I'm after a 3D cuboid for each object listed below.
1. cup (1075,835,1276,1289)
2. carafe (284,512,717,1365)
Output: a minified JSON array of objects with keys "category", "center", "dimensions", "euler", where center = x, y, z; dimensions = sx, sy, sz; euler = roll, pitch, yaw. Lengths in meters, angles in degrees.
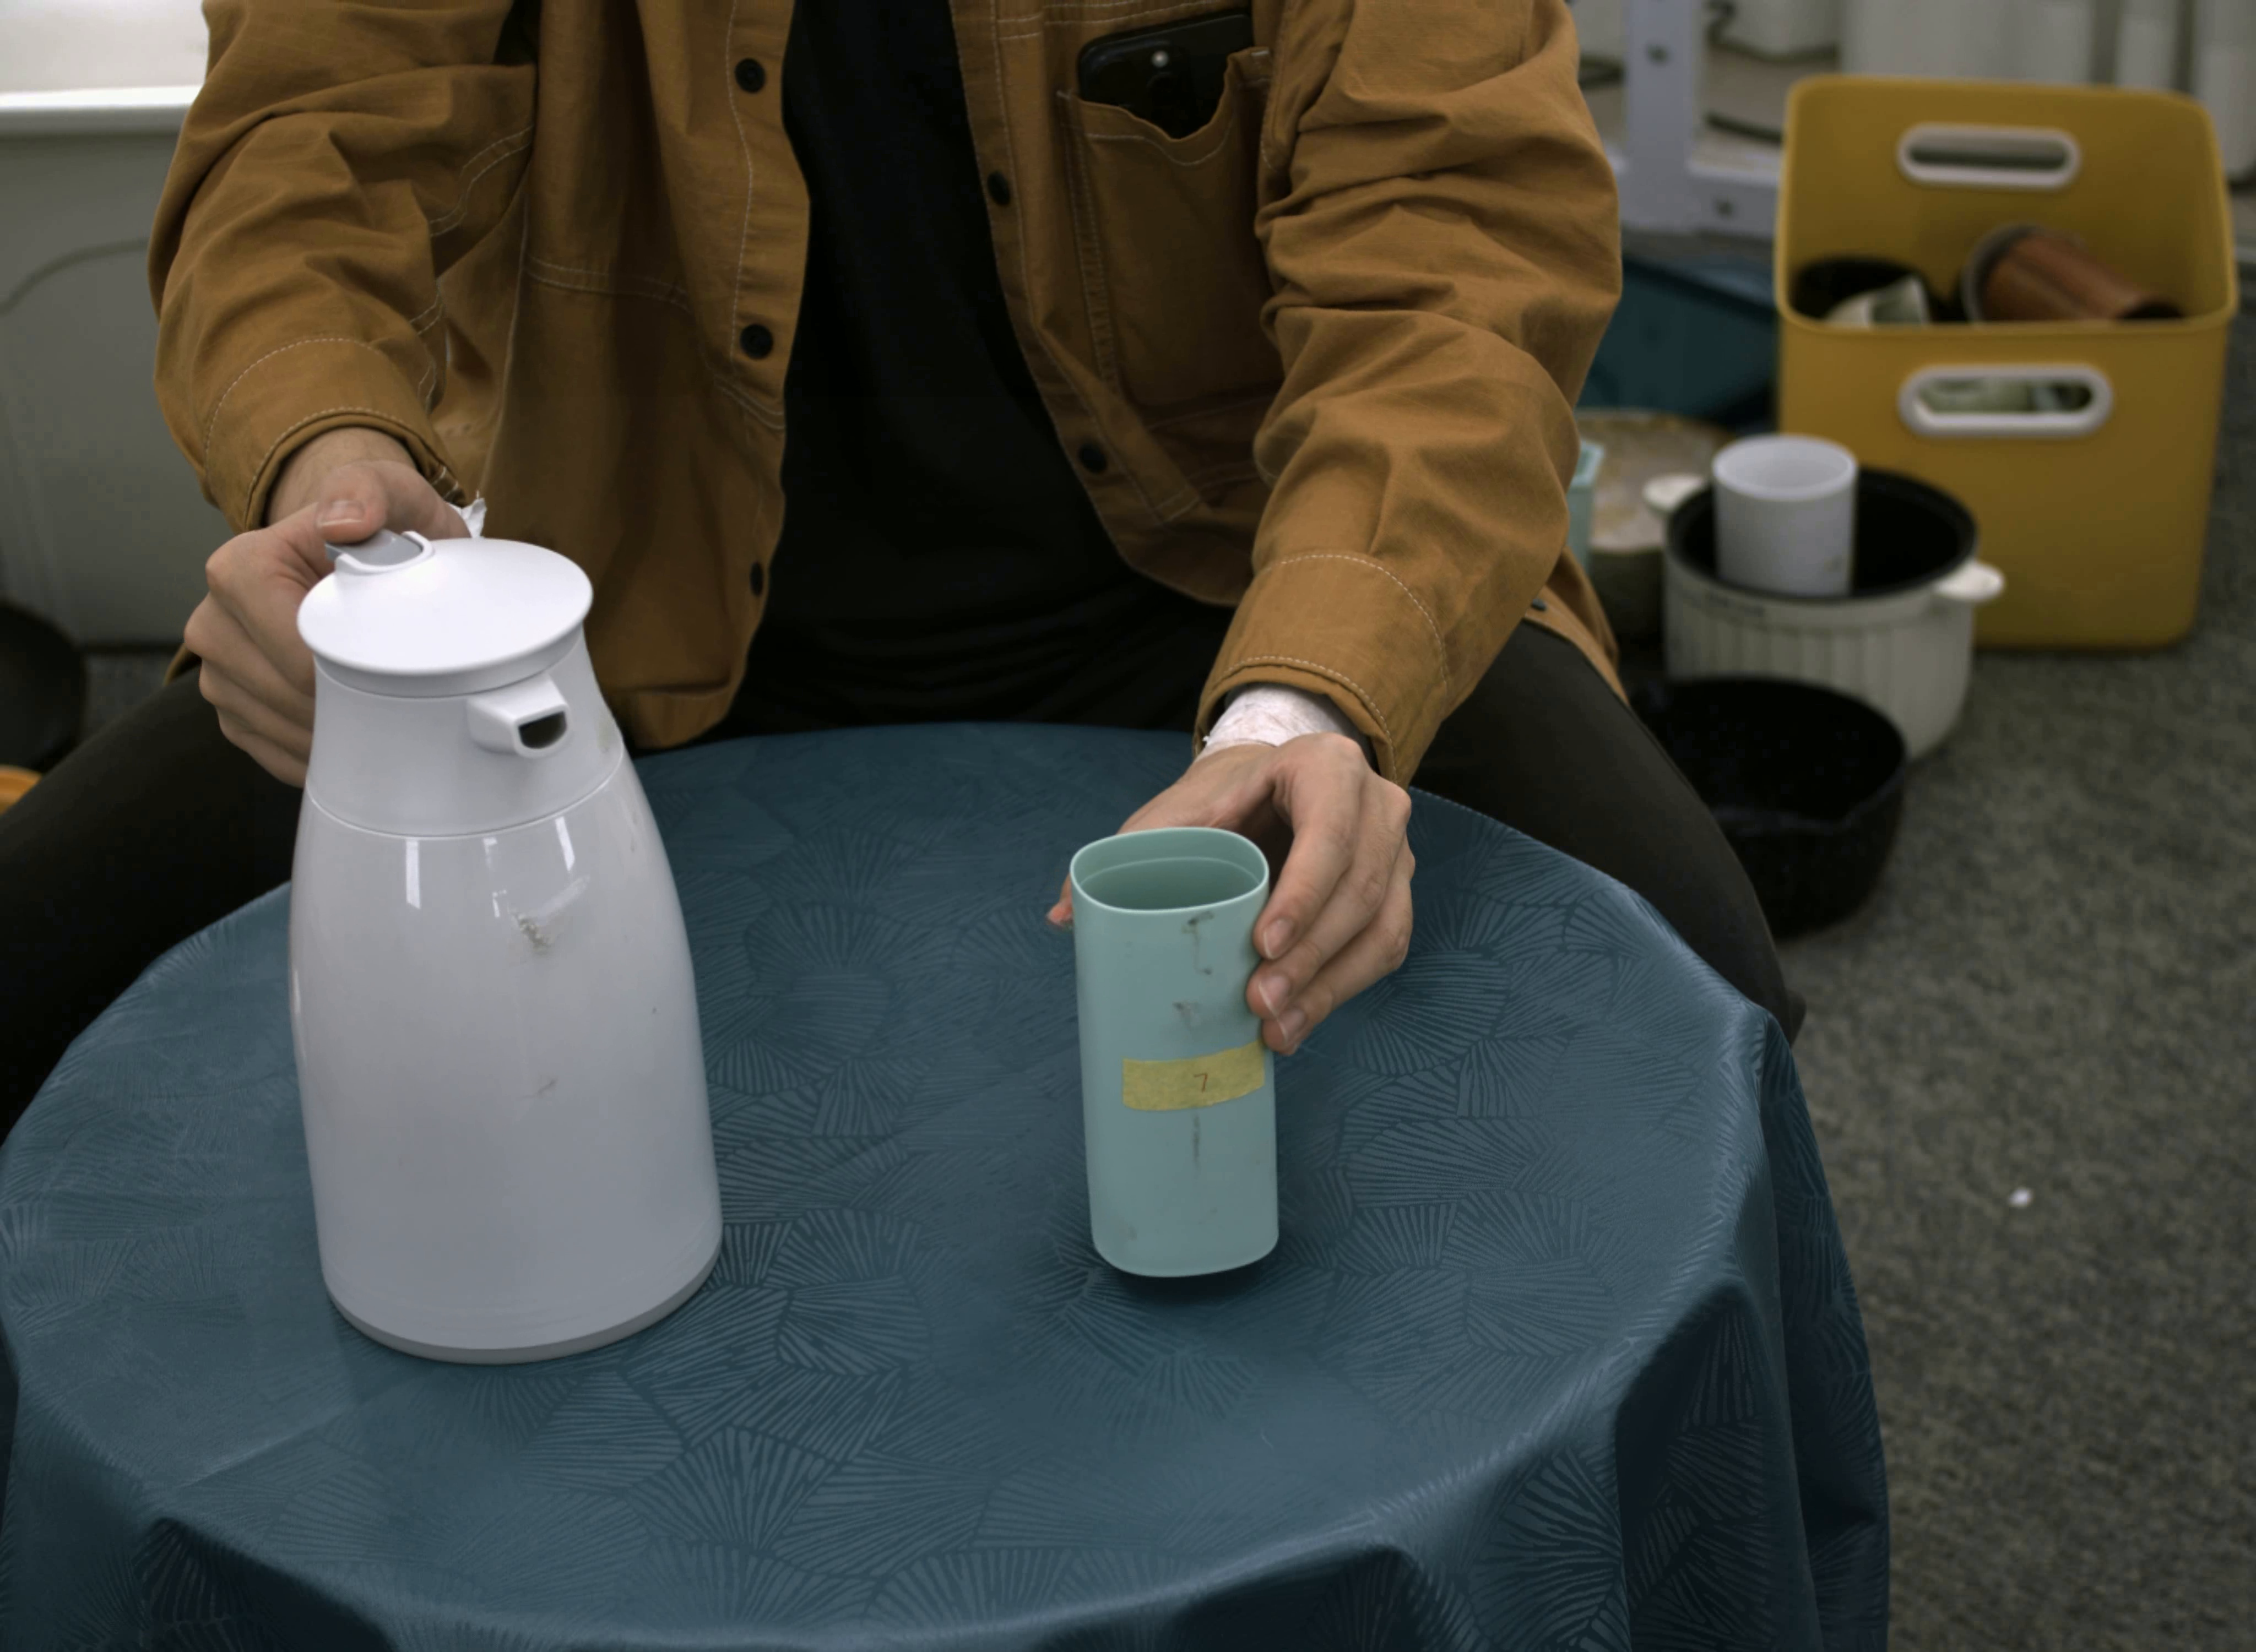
[{"category":"cup","center":[0.016,0.074,1.792],"dimensions":[0.066,0.131,0.067],"euler":[-1,23,1]},{"category":"carafe","center":[-0.217,0.026,1.798],"dimensions":[0.133,0.246,0.168],"euler":[-20,31,-29]}]
